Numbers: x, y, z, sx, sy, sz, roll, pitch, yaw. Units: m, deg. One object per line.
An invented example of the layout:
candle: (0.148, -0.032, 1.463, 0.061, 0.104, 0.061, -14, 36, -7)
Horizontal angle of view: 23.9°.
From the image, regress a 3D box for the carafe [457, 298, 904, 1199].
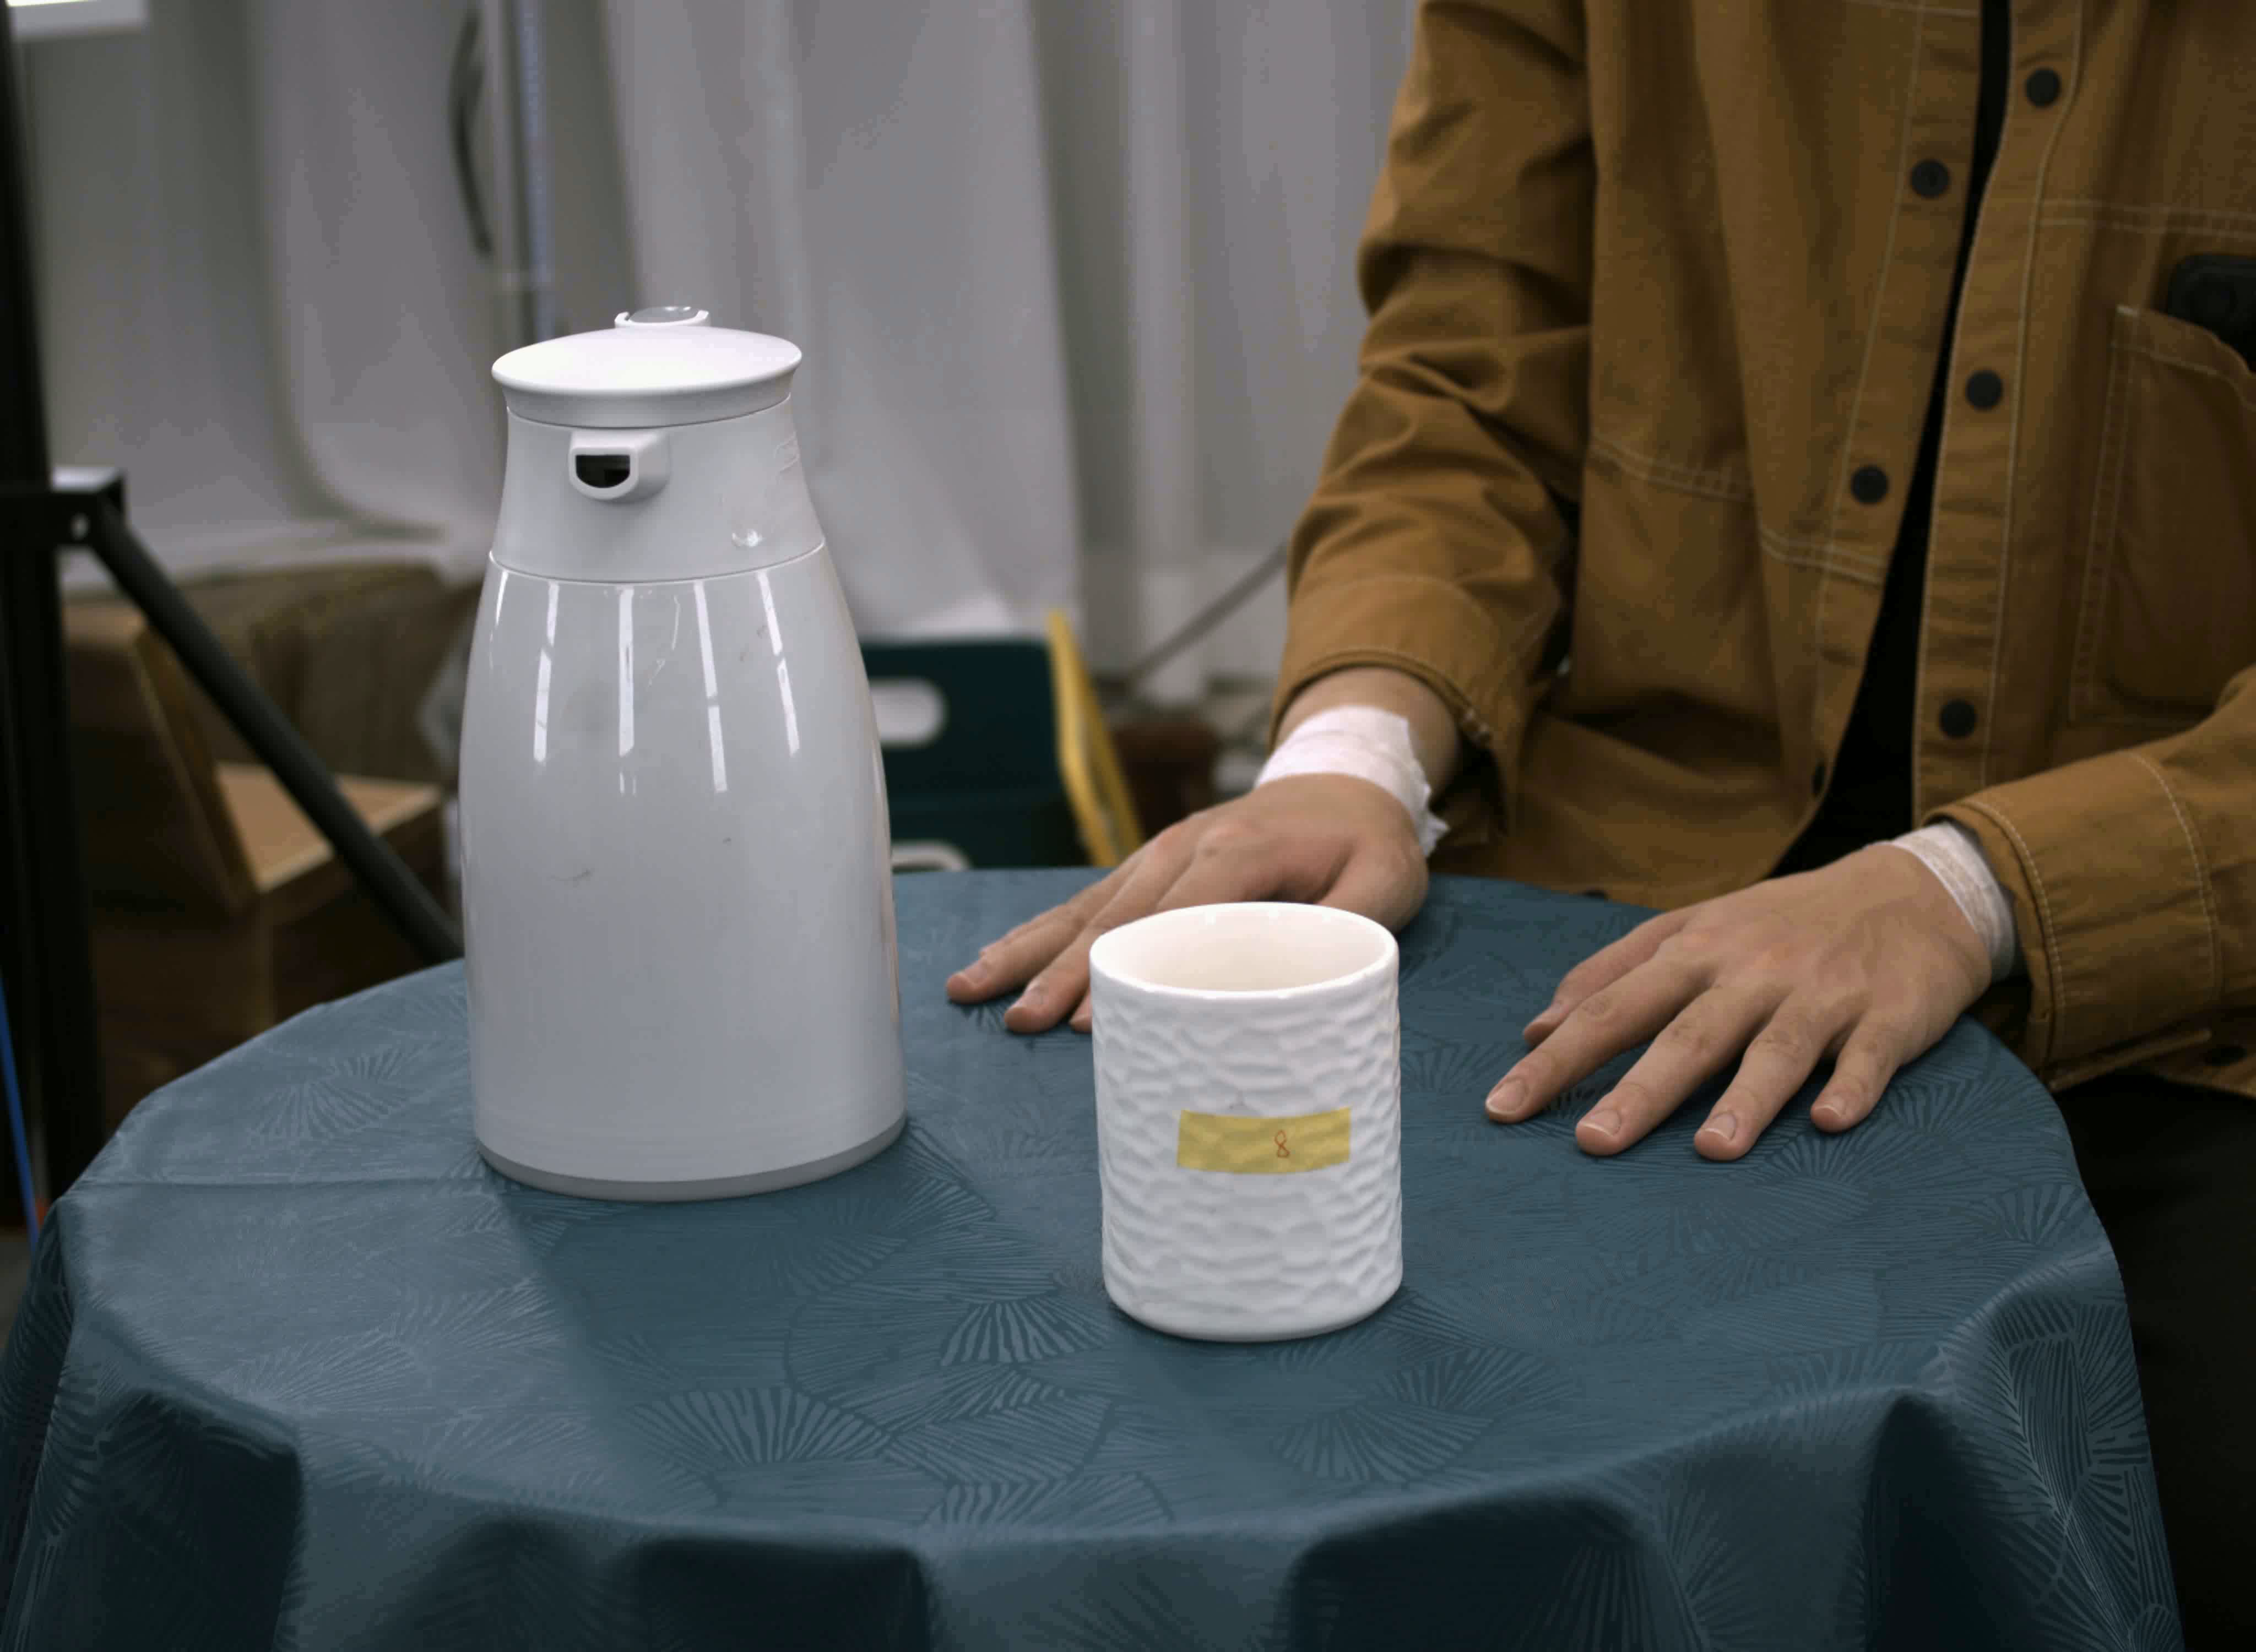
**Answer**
carafe: (-0.137, -0.031, 1.616, 0.133, 0.248, 0.167, -1, 15, 7)

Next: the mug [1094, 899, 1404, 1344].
mug: (0.038, 0.077, 1.470, 0.085, 0.102, 0.117, 3, 16, 15)
